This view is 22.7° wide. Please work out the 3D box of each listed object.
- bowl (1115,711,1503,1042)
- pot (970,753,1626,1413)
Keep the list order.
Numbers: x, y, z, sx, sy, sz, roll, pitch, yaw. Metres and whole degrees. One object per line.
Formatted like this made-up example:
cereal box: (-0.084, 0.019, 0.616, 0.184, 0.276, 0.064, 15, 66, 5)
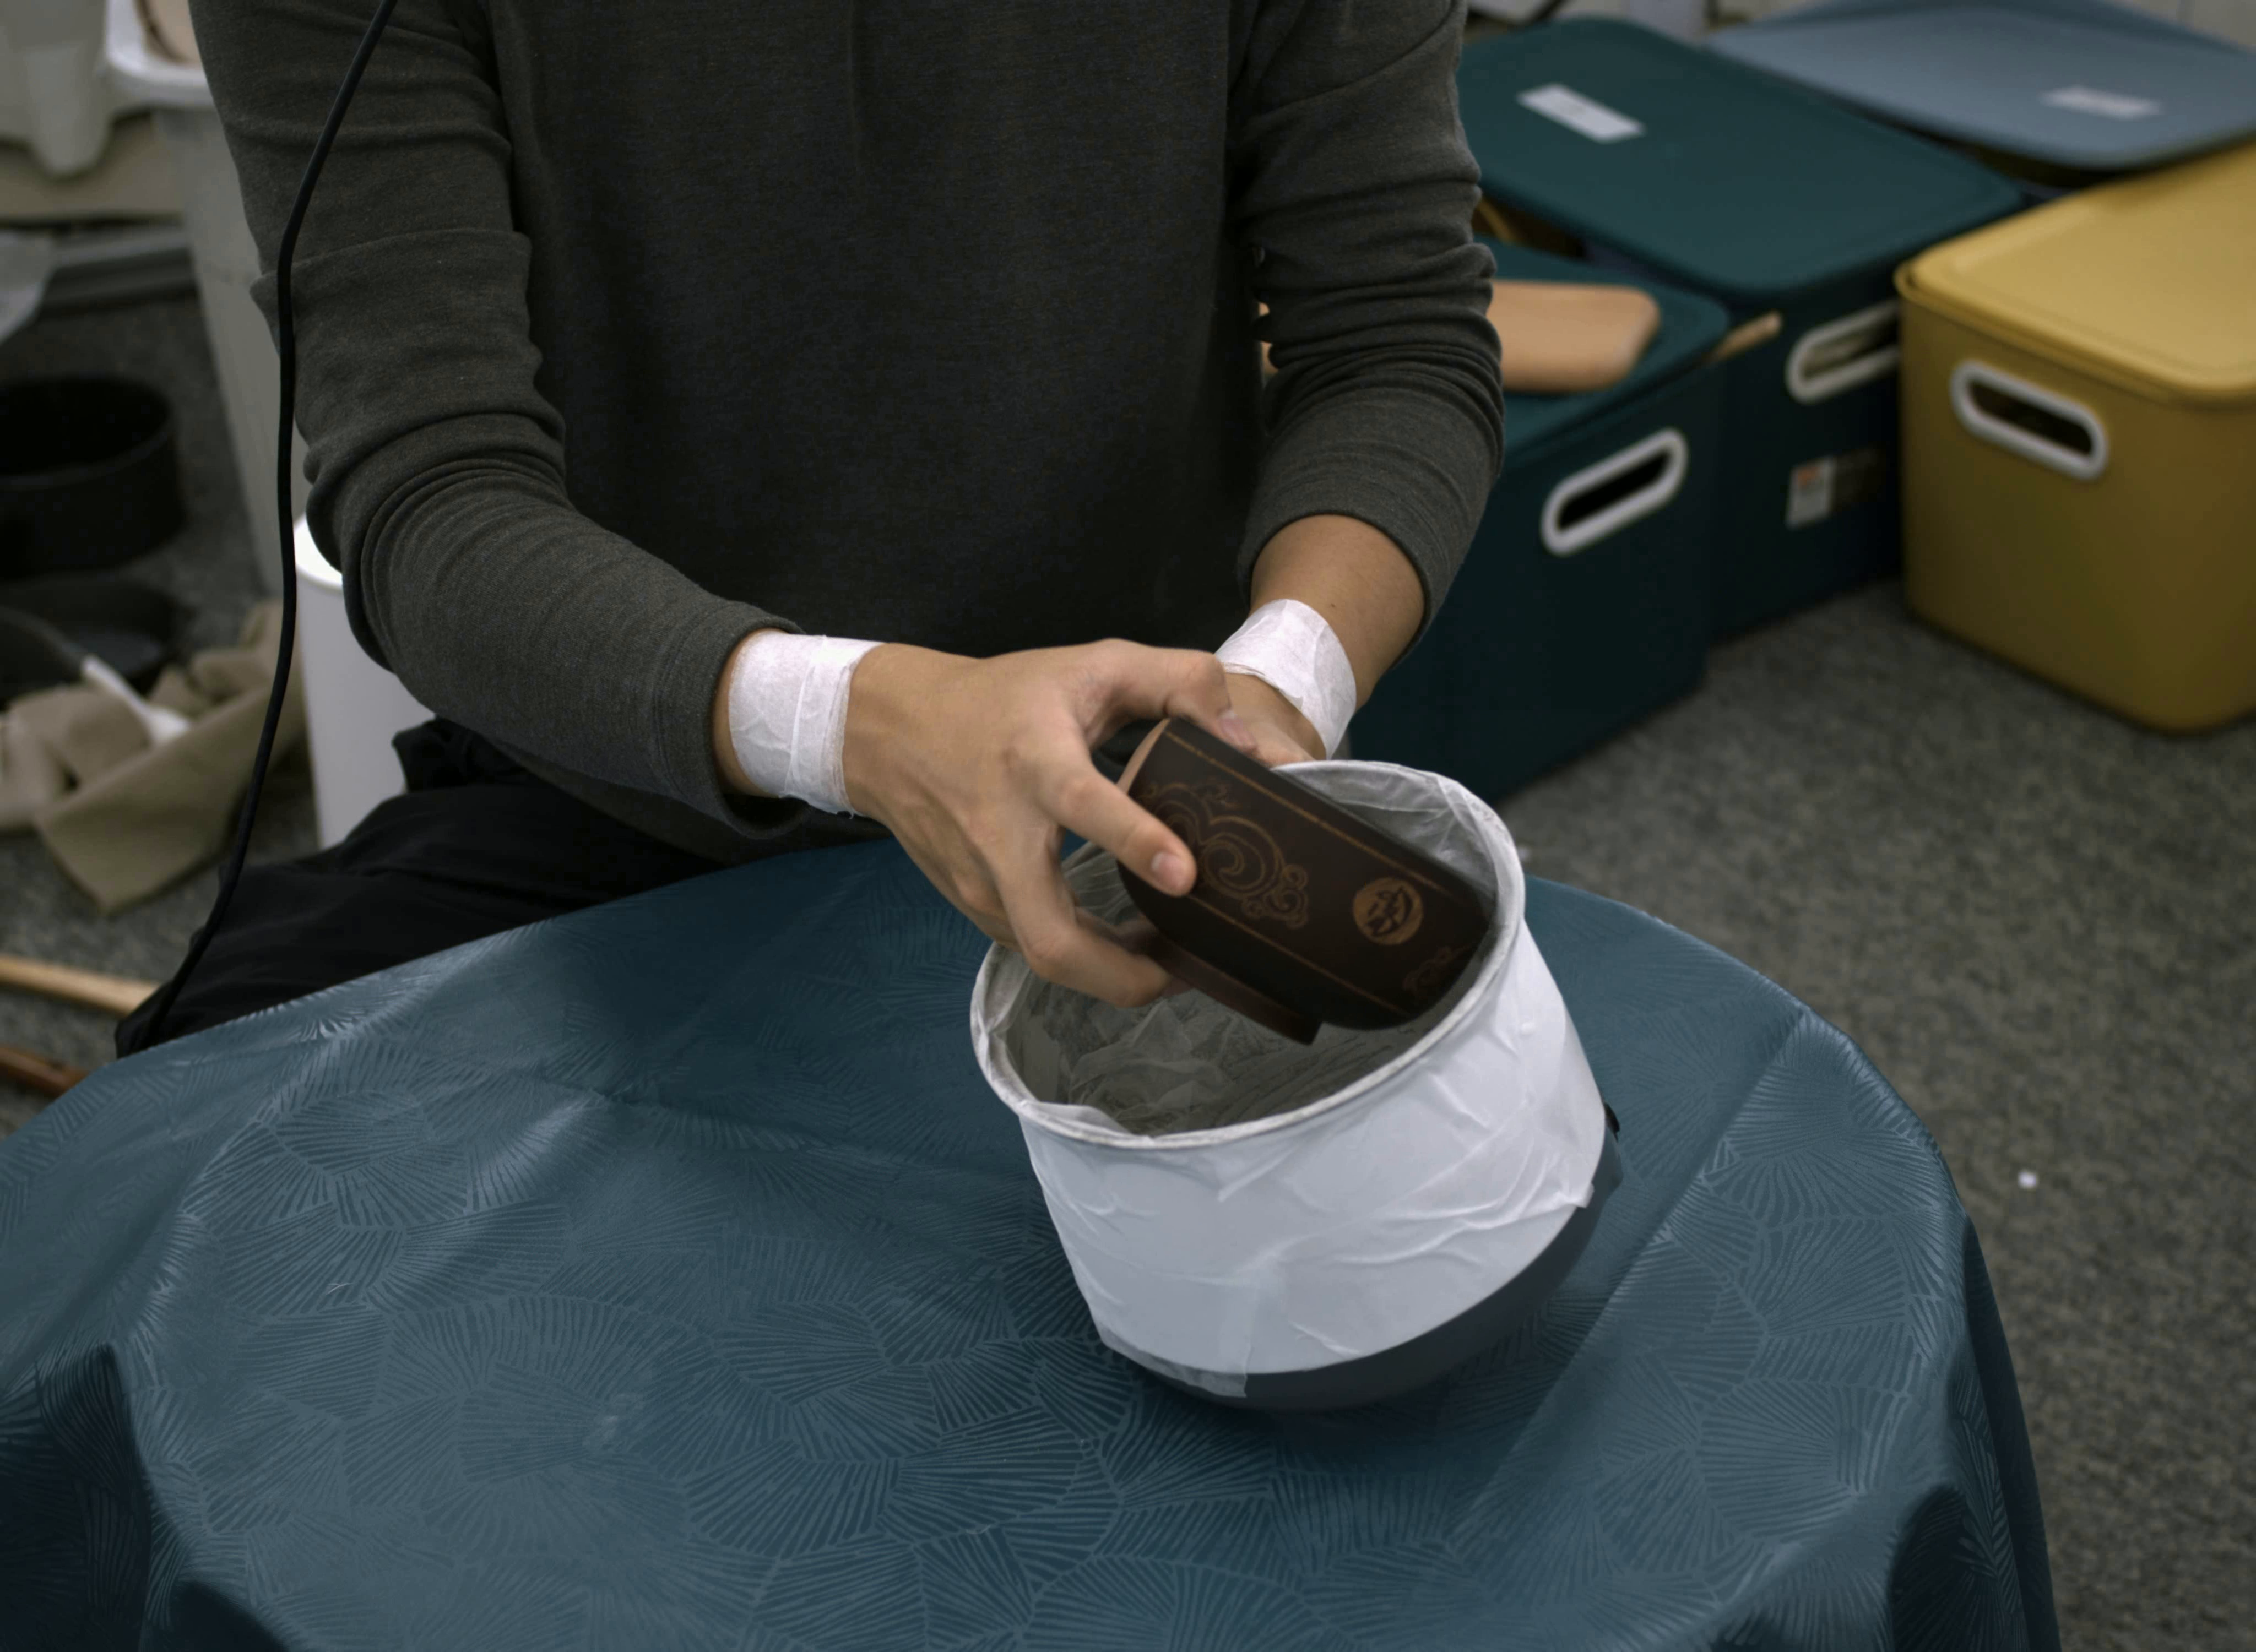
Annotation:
bowl: (0.047, 0.022, 1.698, 0.118, 0.070, 0.118, 28, -1, 1)
pot: (0.049, 0.069, 1.769, 0.178, 0.135, 0.237, -21, 34, 0)
